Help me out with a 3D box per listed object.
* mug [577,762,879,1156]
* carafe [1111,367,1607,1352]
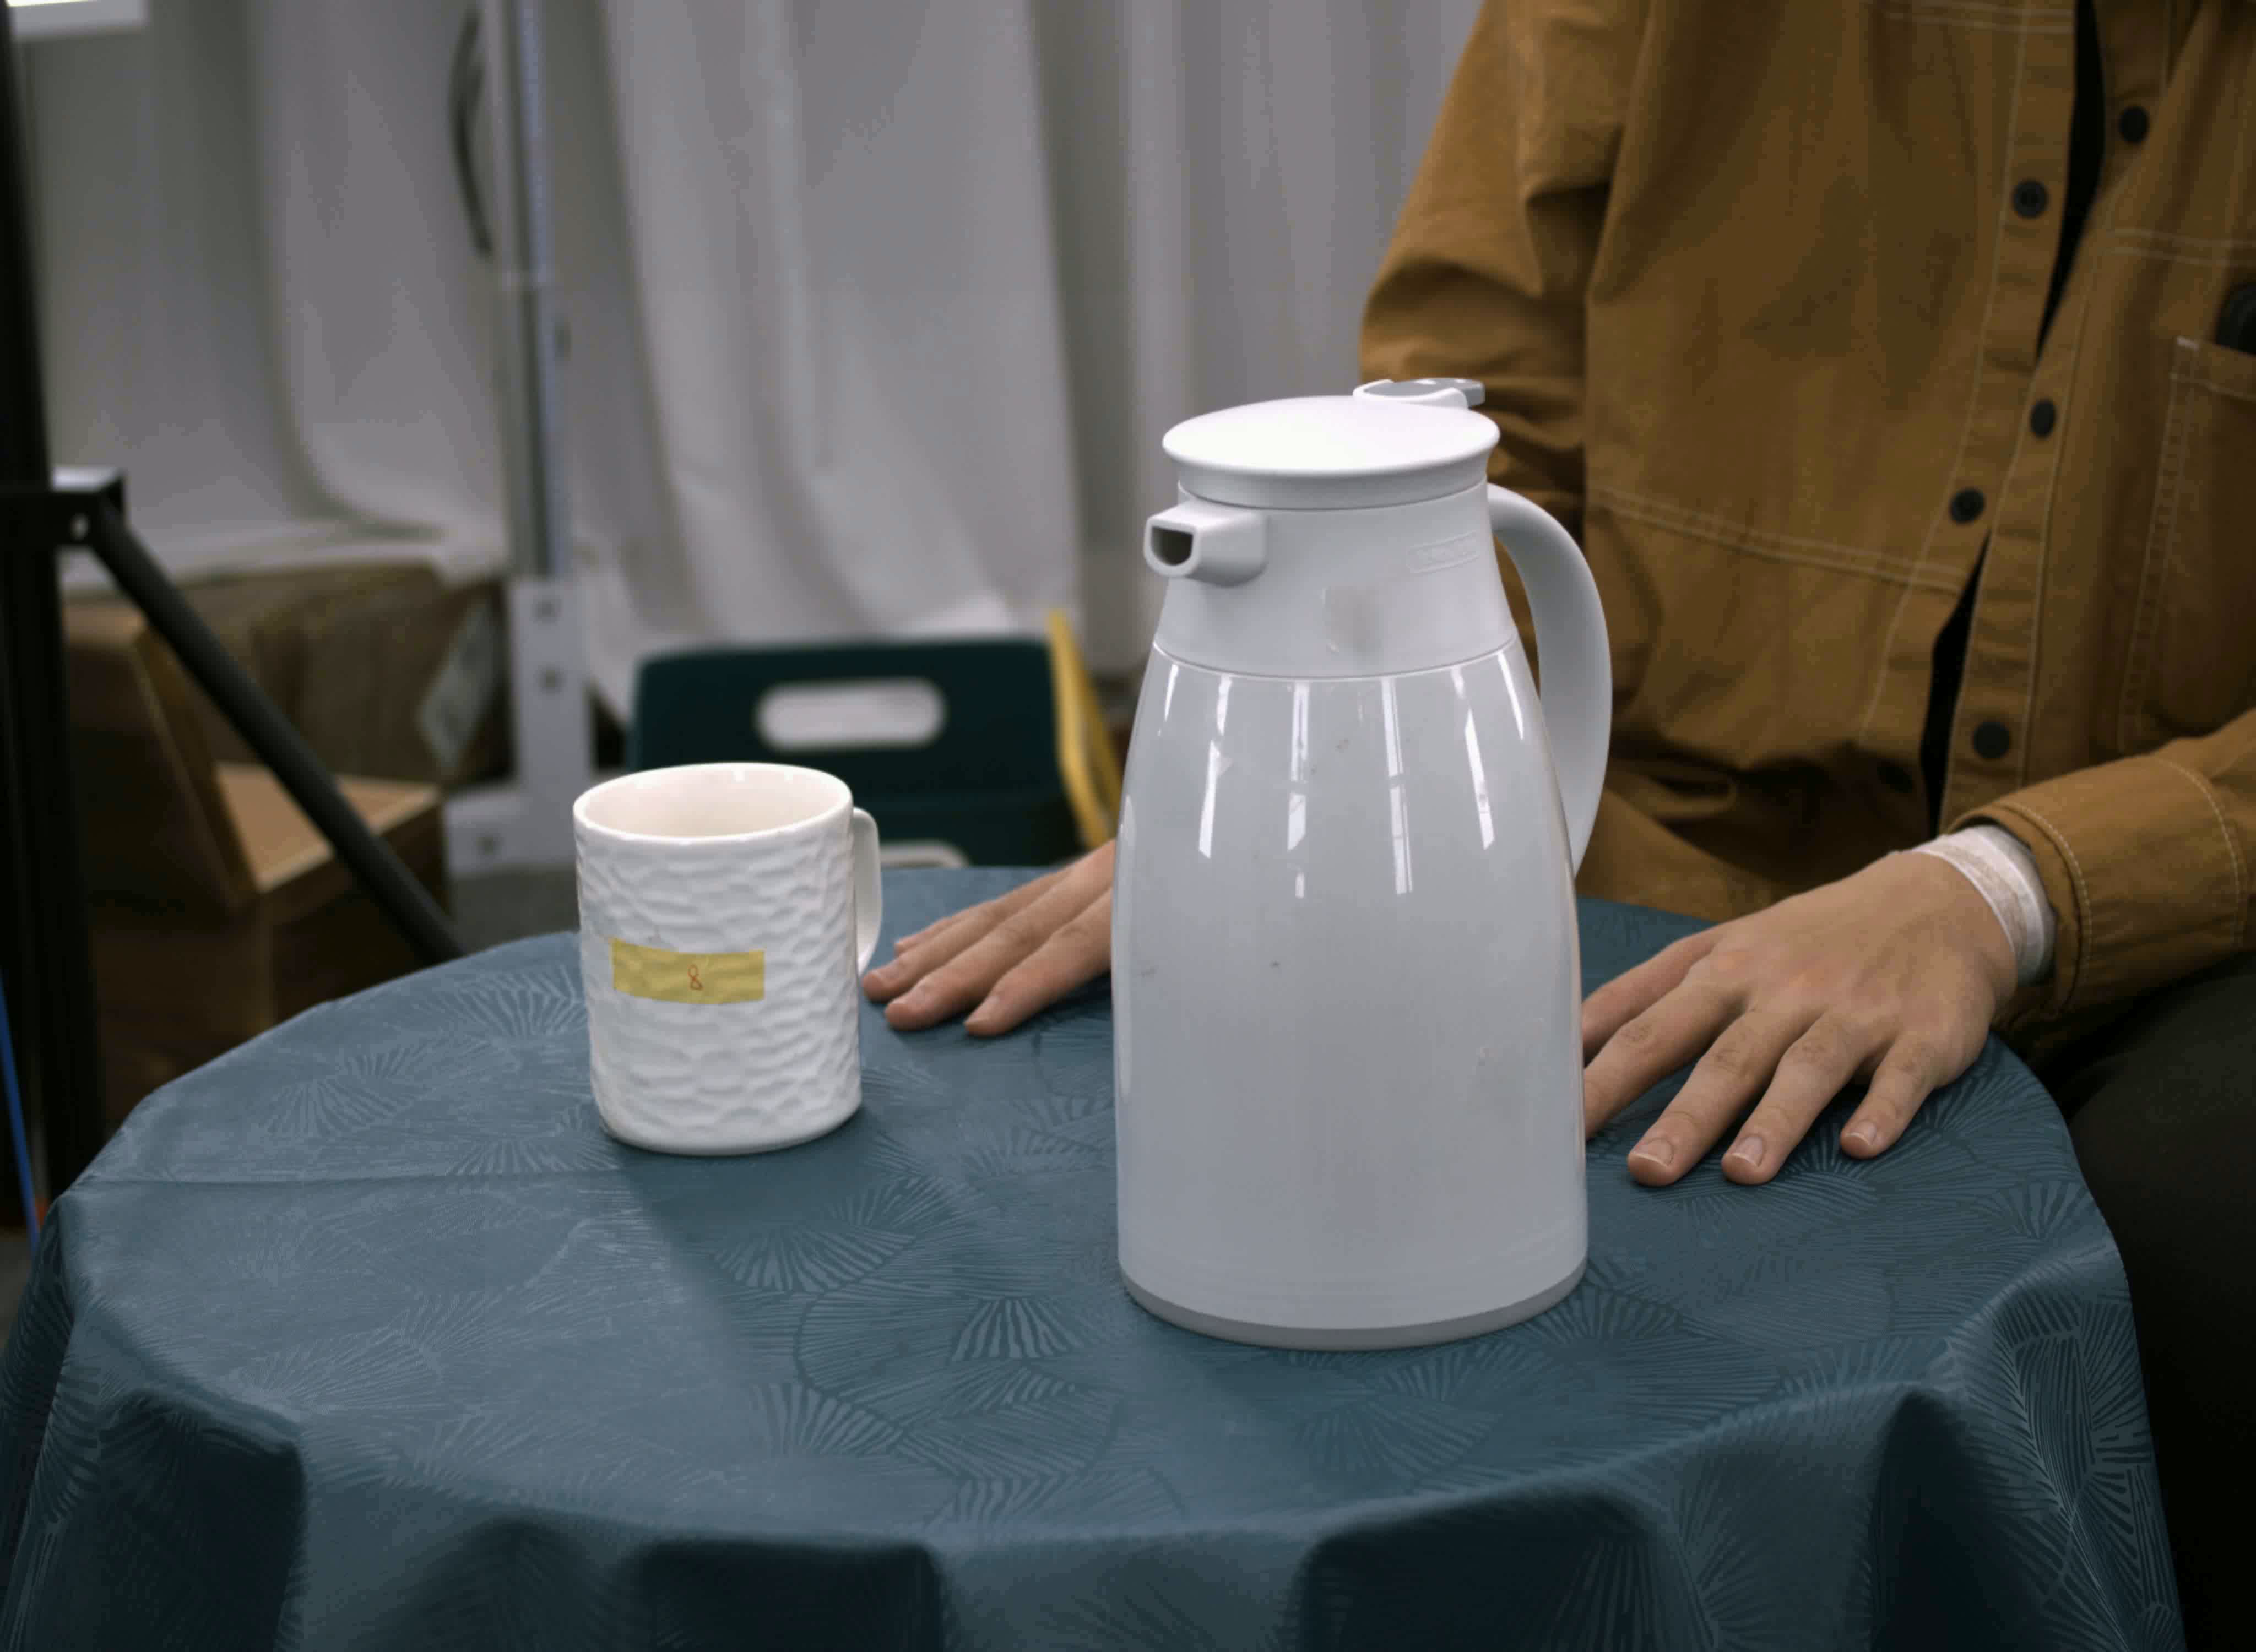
[{"bbox_3d":[-0.115,0.037,1.640,0.086,0.102,0.116,9,18,32],"label":"mug"},{"bbox_3d":[0.071,0.001,1.467,0.135,0.248,0.164,12,20,44],"label":"carafe"}]
